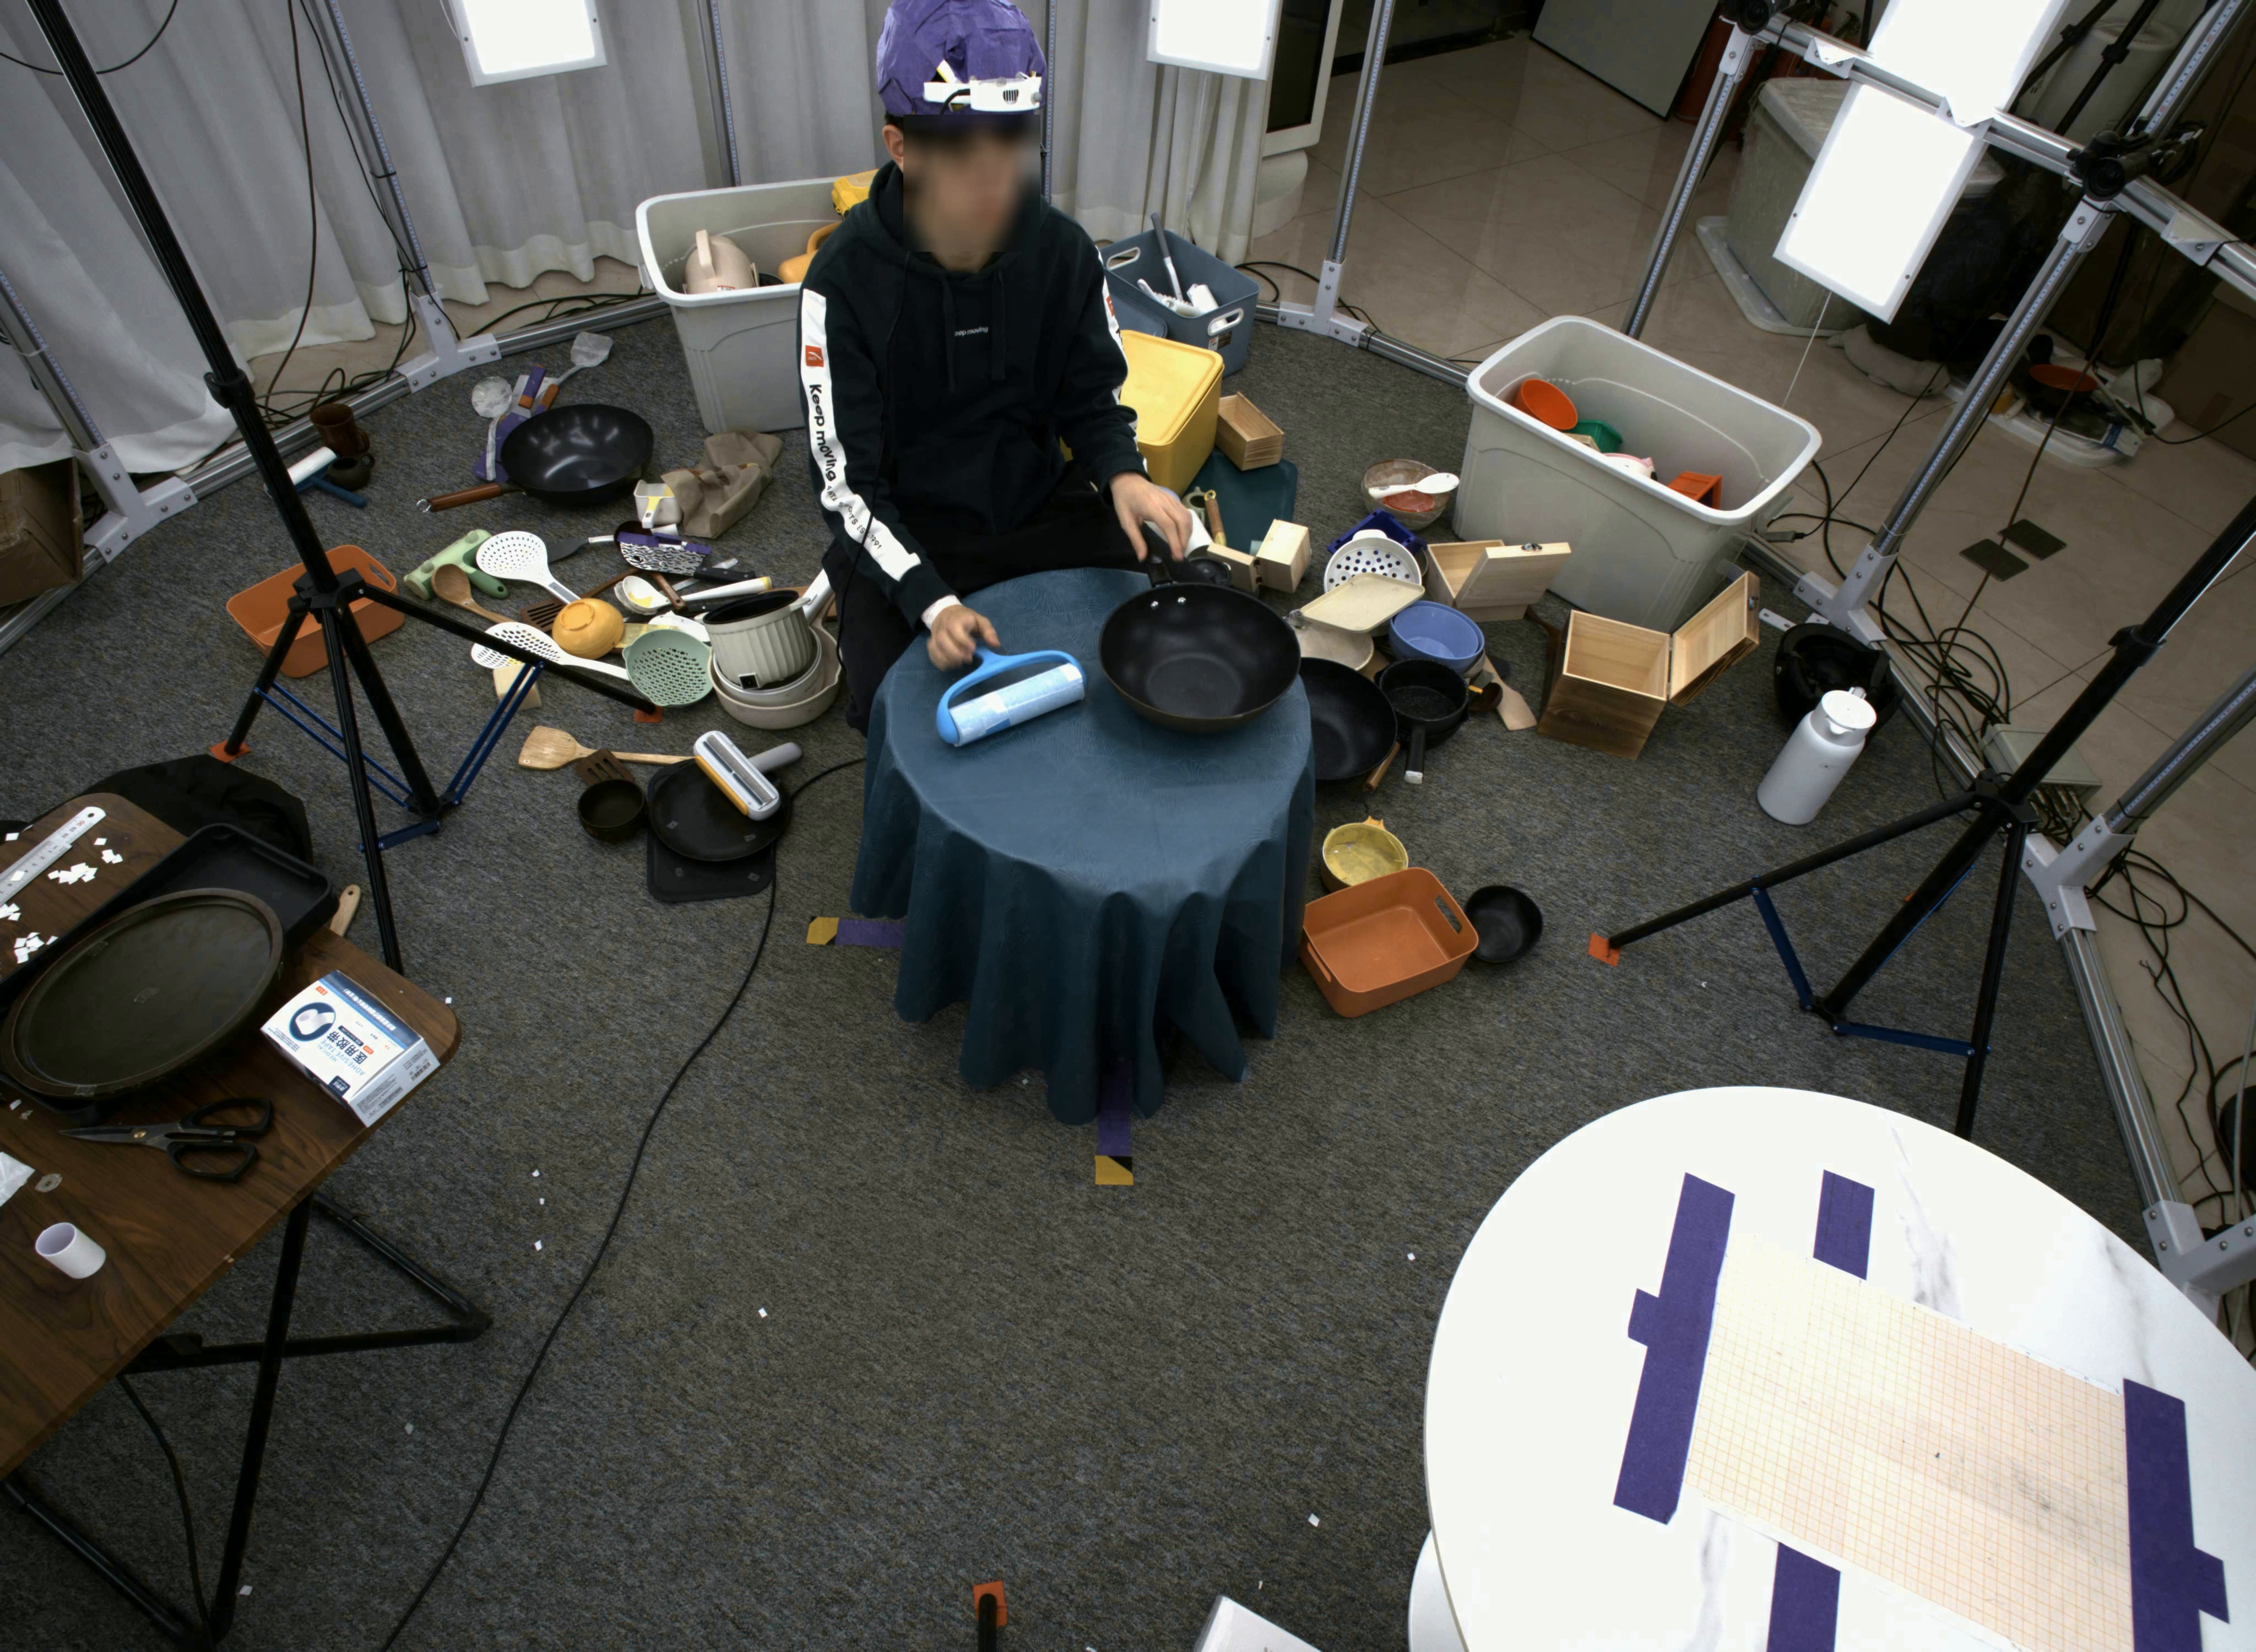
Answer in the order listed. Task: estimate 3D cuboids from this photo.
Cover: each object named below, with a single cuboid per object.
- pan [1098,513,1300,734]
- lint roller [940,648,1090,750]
[{"bbox_3d":[0.069,-0.289,1.871,0.288,0.085,0.475,-11,50,-14],"label":"pan"},{"bbox_3d":[-0.186,-0.205,1.797,0.230,0.066,0.183,-28,57,-23],"label":"lint roller"}]
